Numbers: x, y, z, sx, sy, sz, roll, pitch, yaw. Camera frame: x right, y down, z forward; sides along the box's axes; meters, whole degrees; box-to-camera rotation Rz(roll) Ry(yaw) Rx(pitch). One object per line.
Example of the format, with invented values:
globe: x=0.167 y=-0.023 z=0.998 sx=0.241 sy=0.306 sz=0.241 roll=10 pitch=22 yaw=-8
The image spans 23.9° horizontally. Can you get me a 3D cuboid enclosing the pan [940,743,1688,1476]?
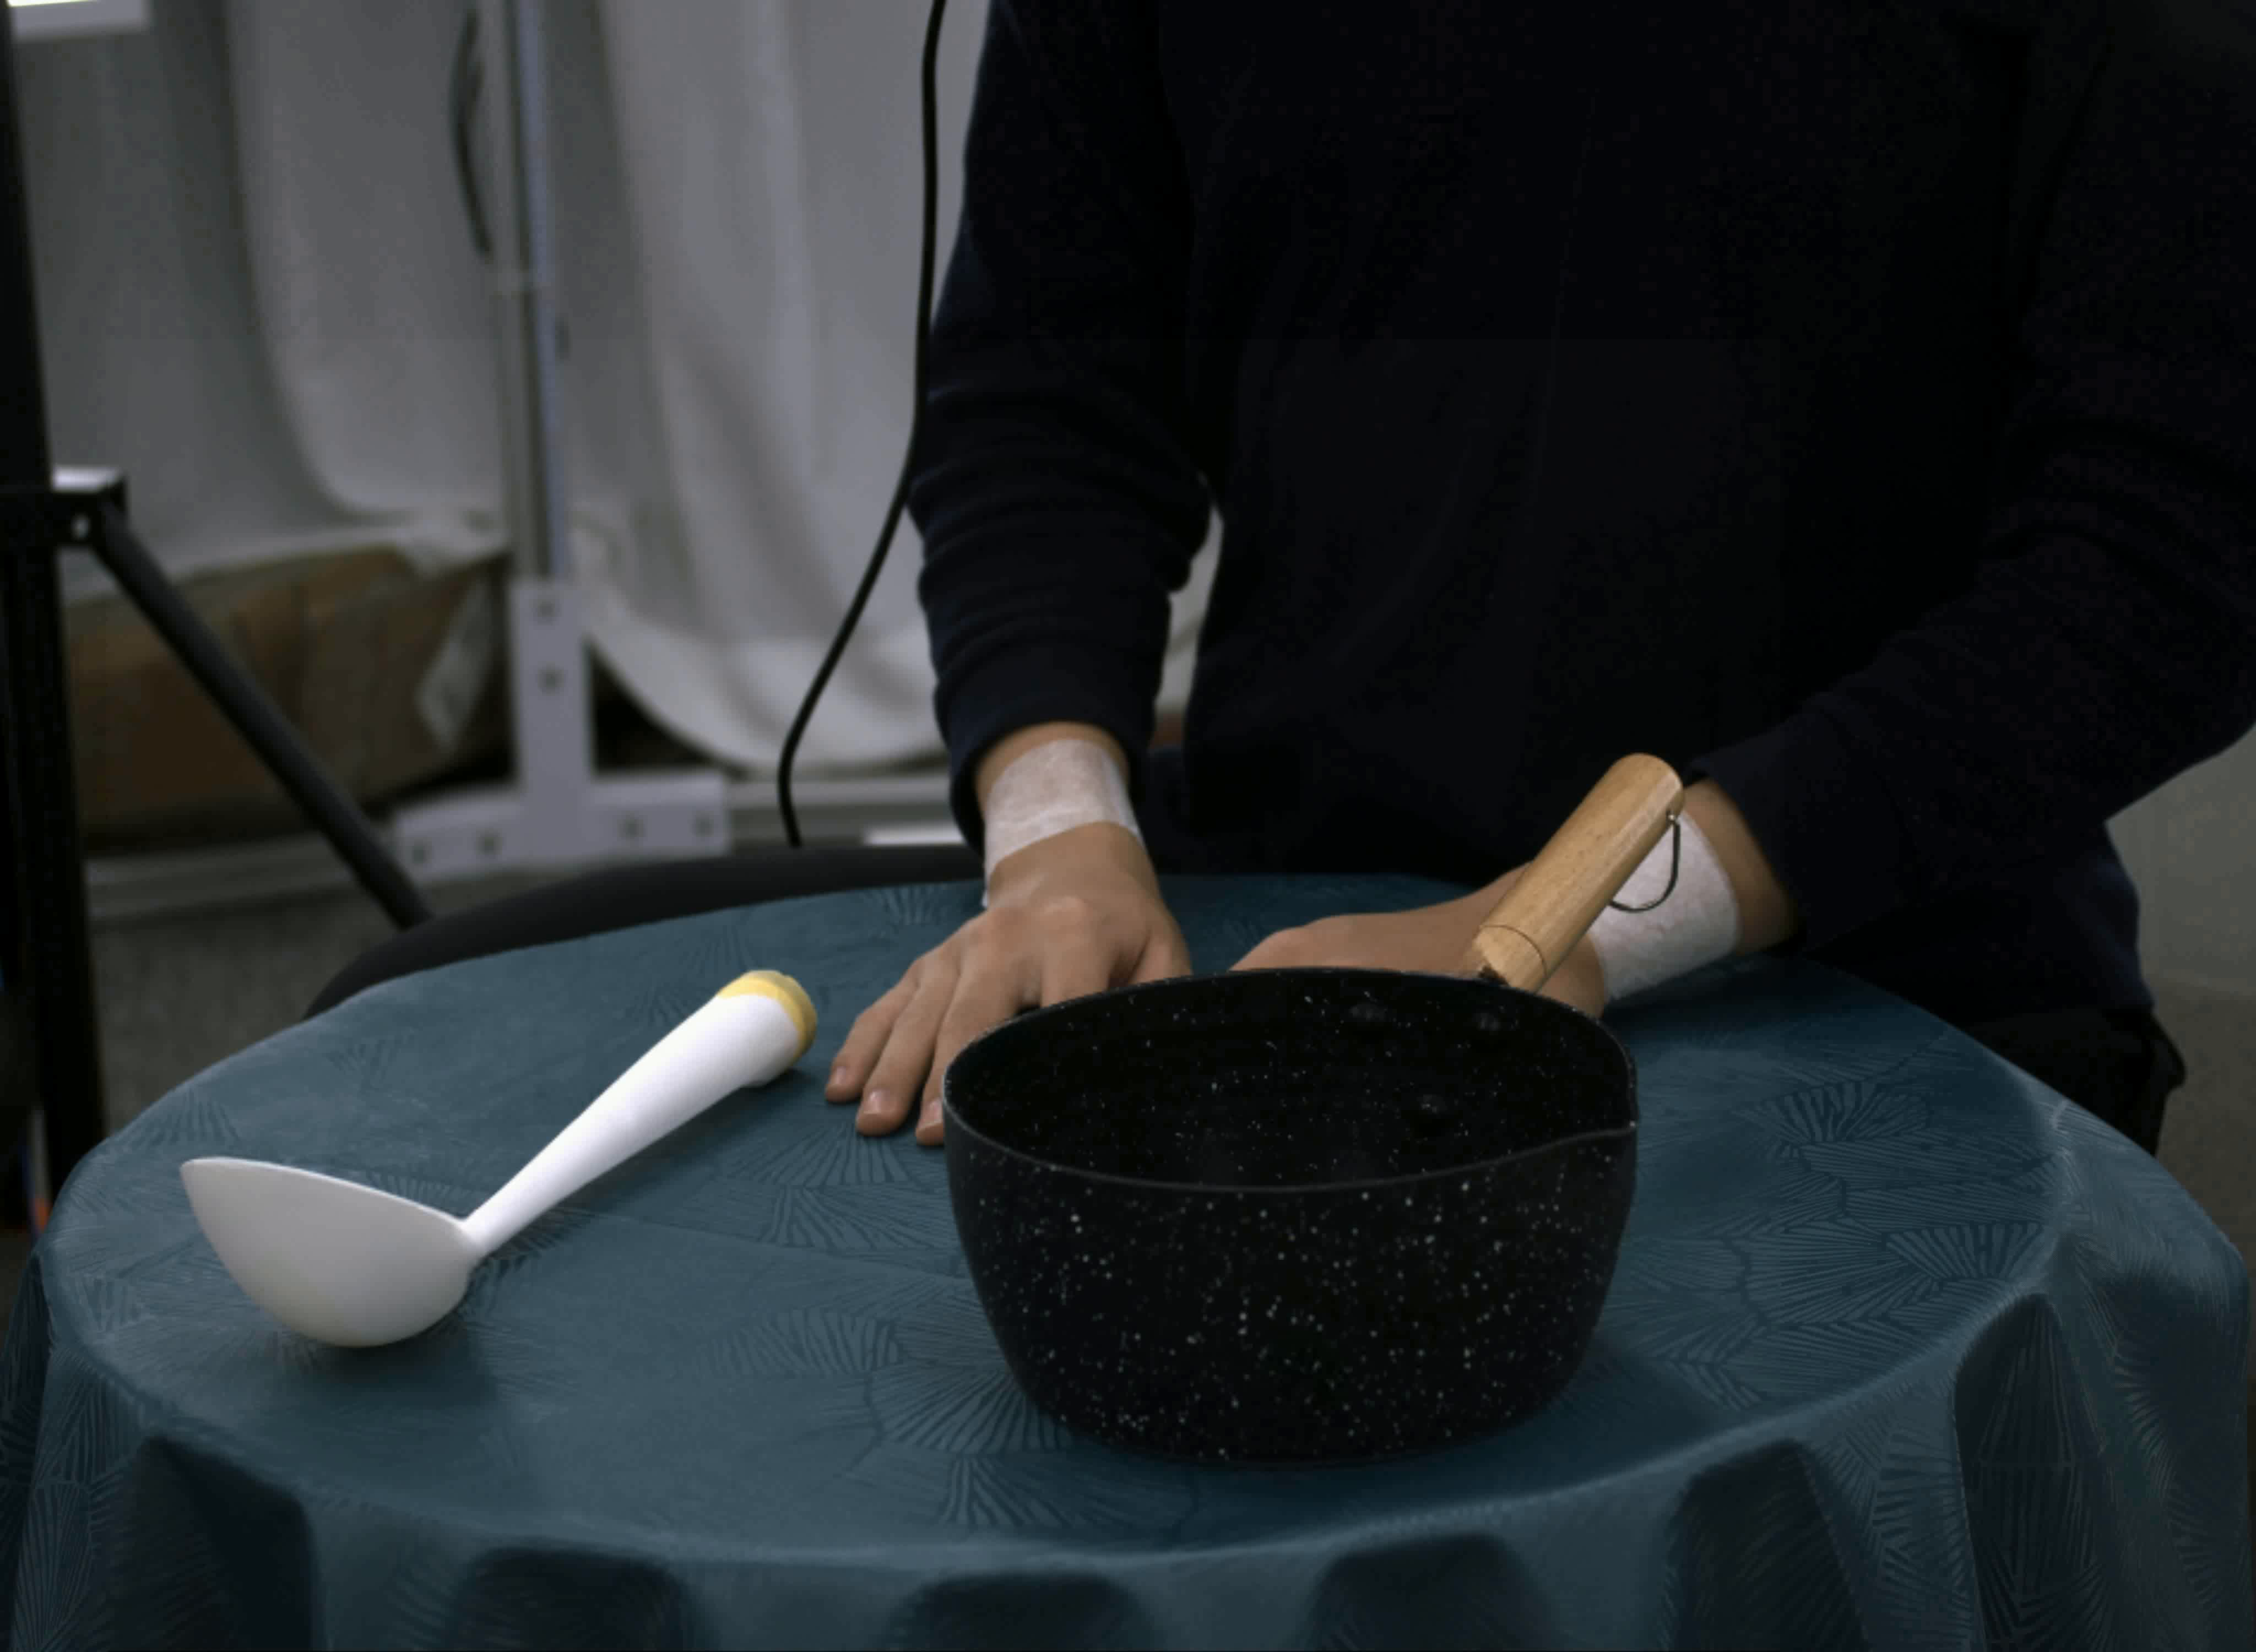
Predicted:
pan: x=0.080 y=0.073 z=1.470 sx=0.211 sy=0.108 sz=0.337 roll=4 pitch=18 yaw=28

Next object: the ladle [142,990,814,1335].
ladle: x=-0.176 y=0.083 z=1.557 sx=0.091 sy=0.070 sz=0.288 roll=-1 pitch=14 yaw=27
